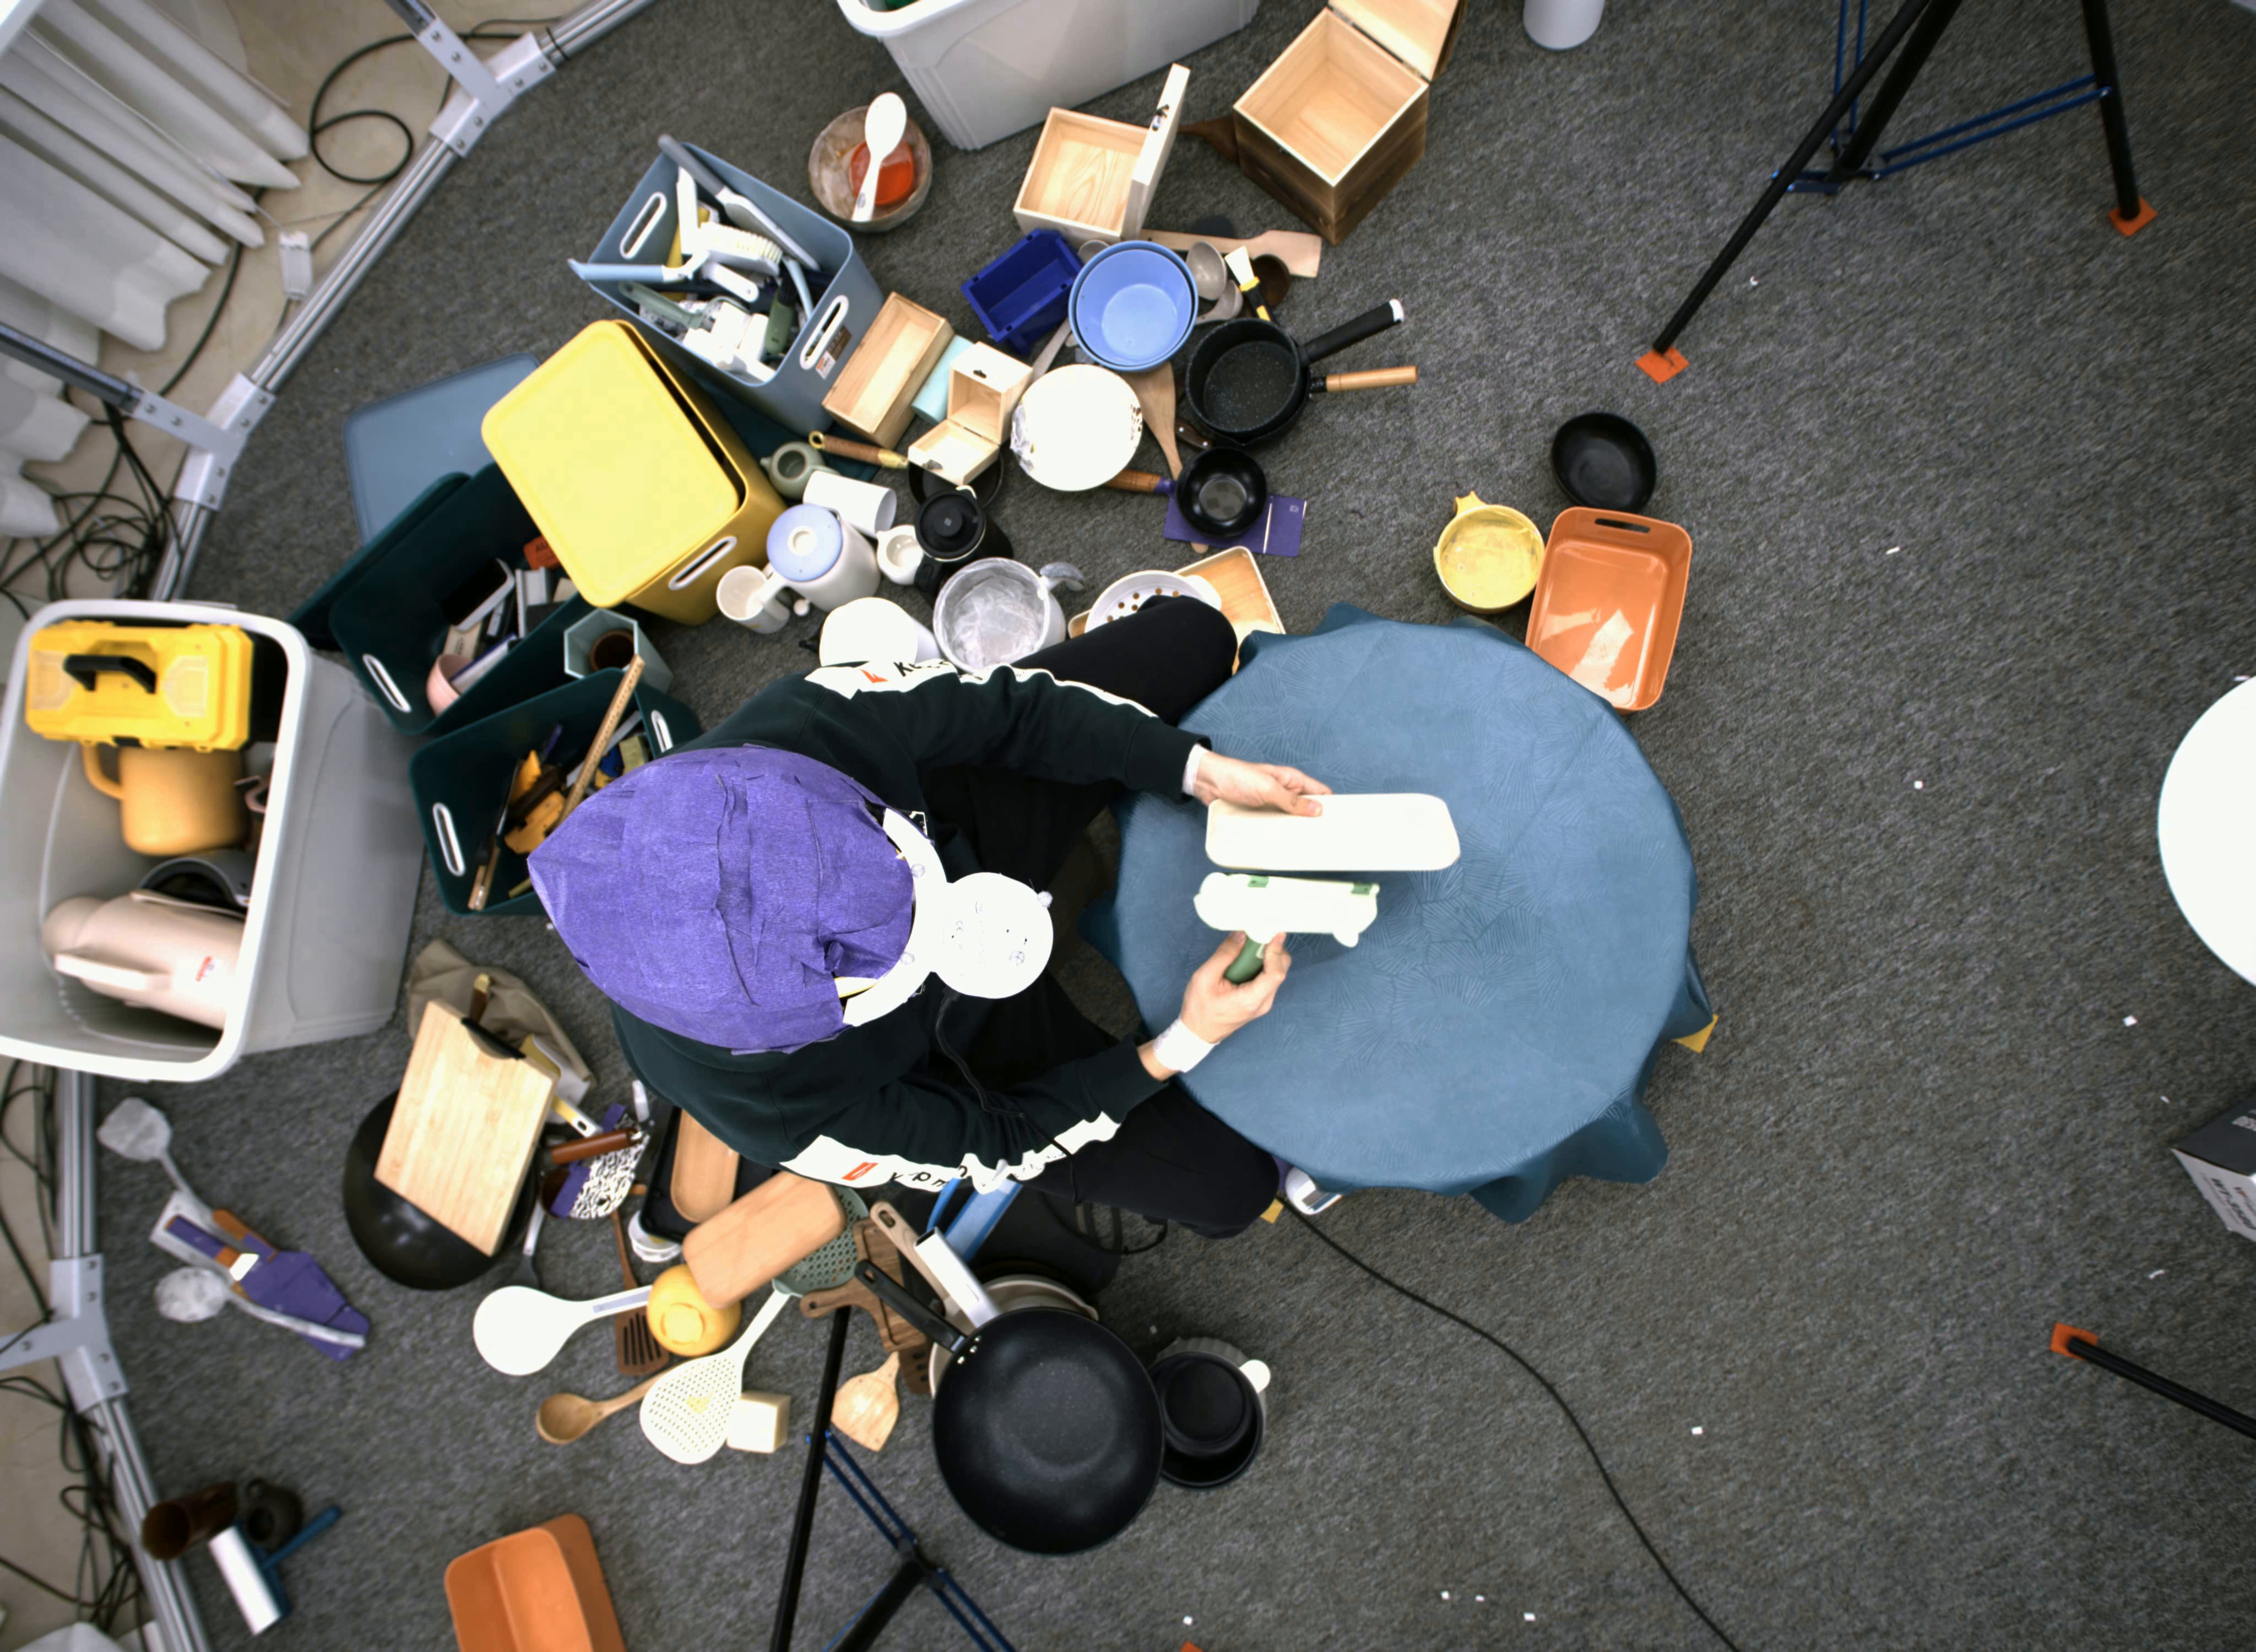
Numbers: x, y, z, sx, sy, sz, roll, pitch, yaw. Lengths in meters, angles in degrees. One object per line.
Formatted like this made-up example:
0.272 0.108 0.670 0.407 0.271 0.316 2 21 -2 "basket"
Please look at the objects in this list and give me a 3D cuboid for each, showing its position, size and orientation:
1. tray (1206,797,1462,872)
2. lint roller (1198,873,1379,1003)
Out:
0.195 0.007 1.340 0.240 0.168 0.018 0 111 5 "tray"
0.139 0.122 1.354 0.081 0.197 0.187 53 127 39 "lint roller"
